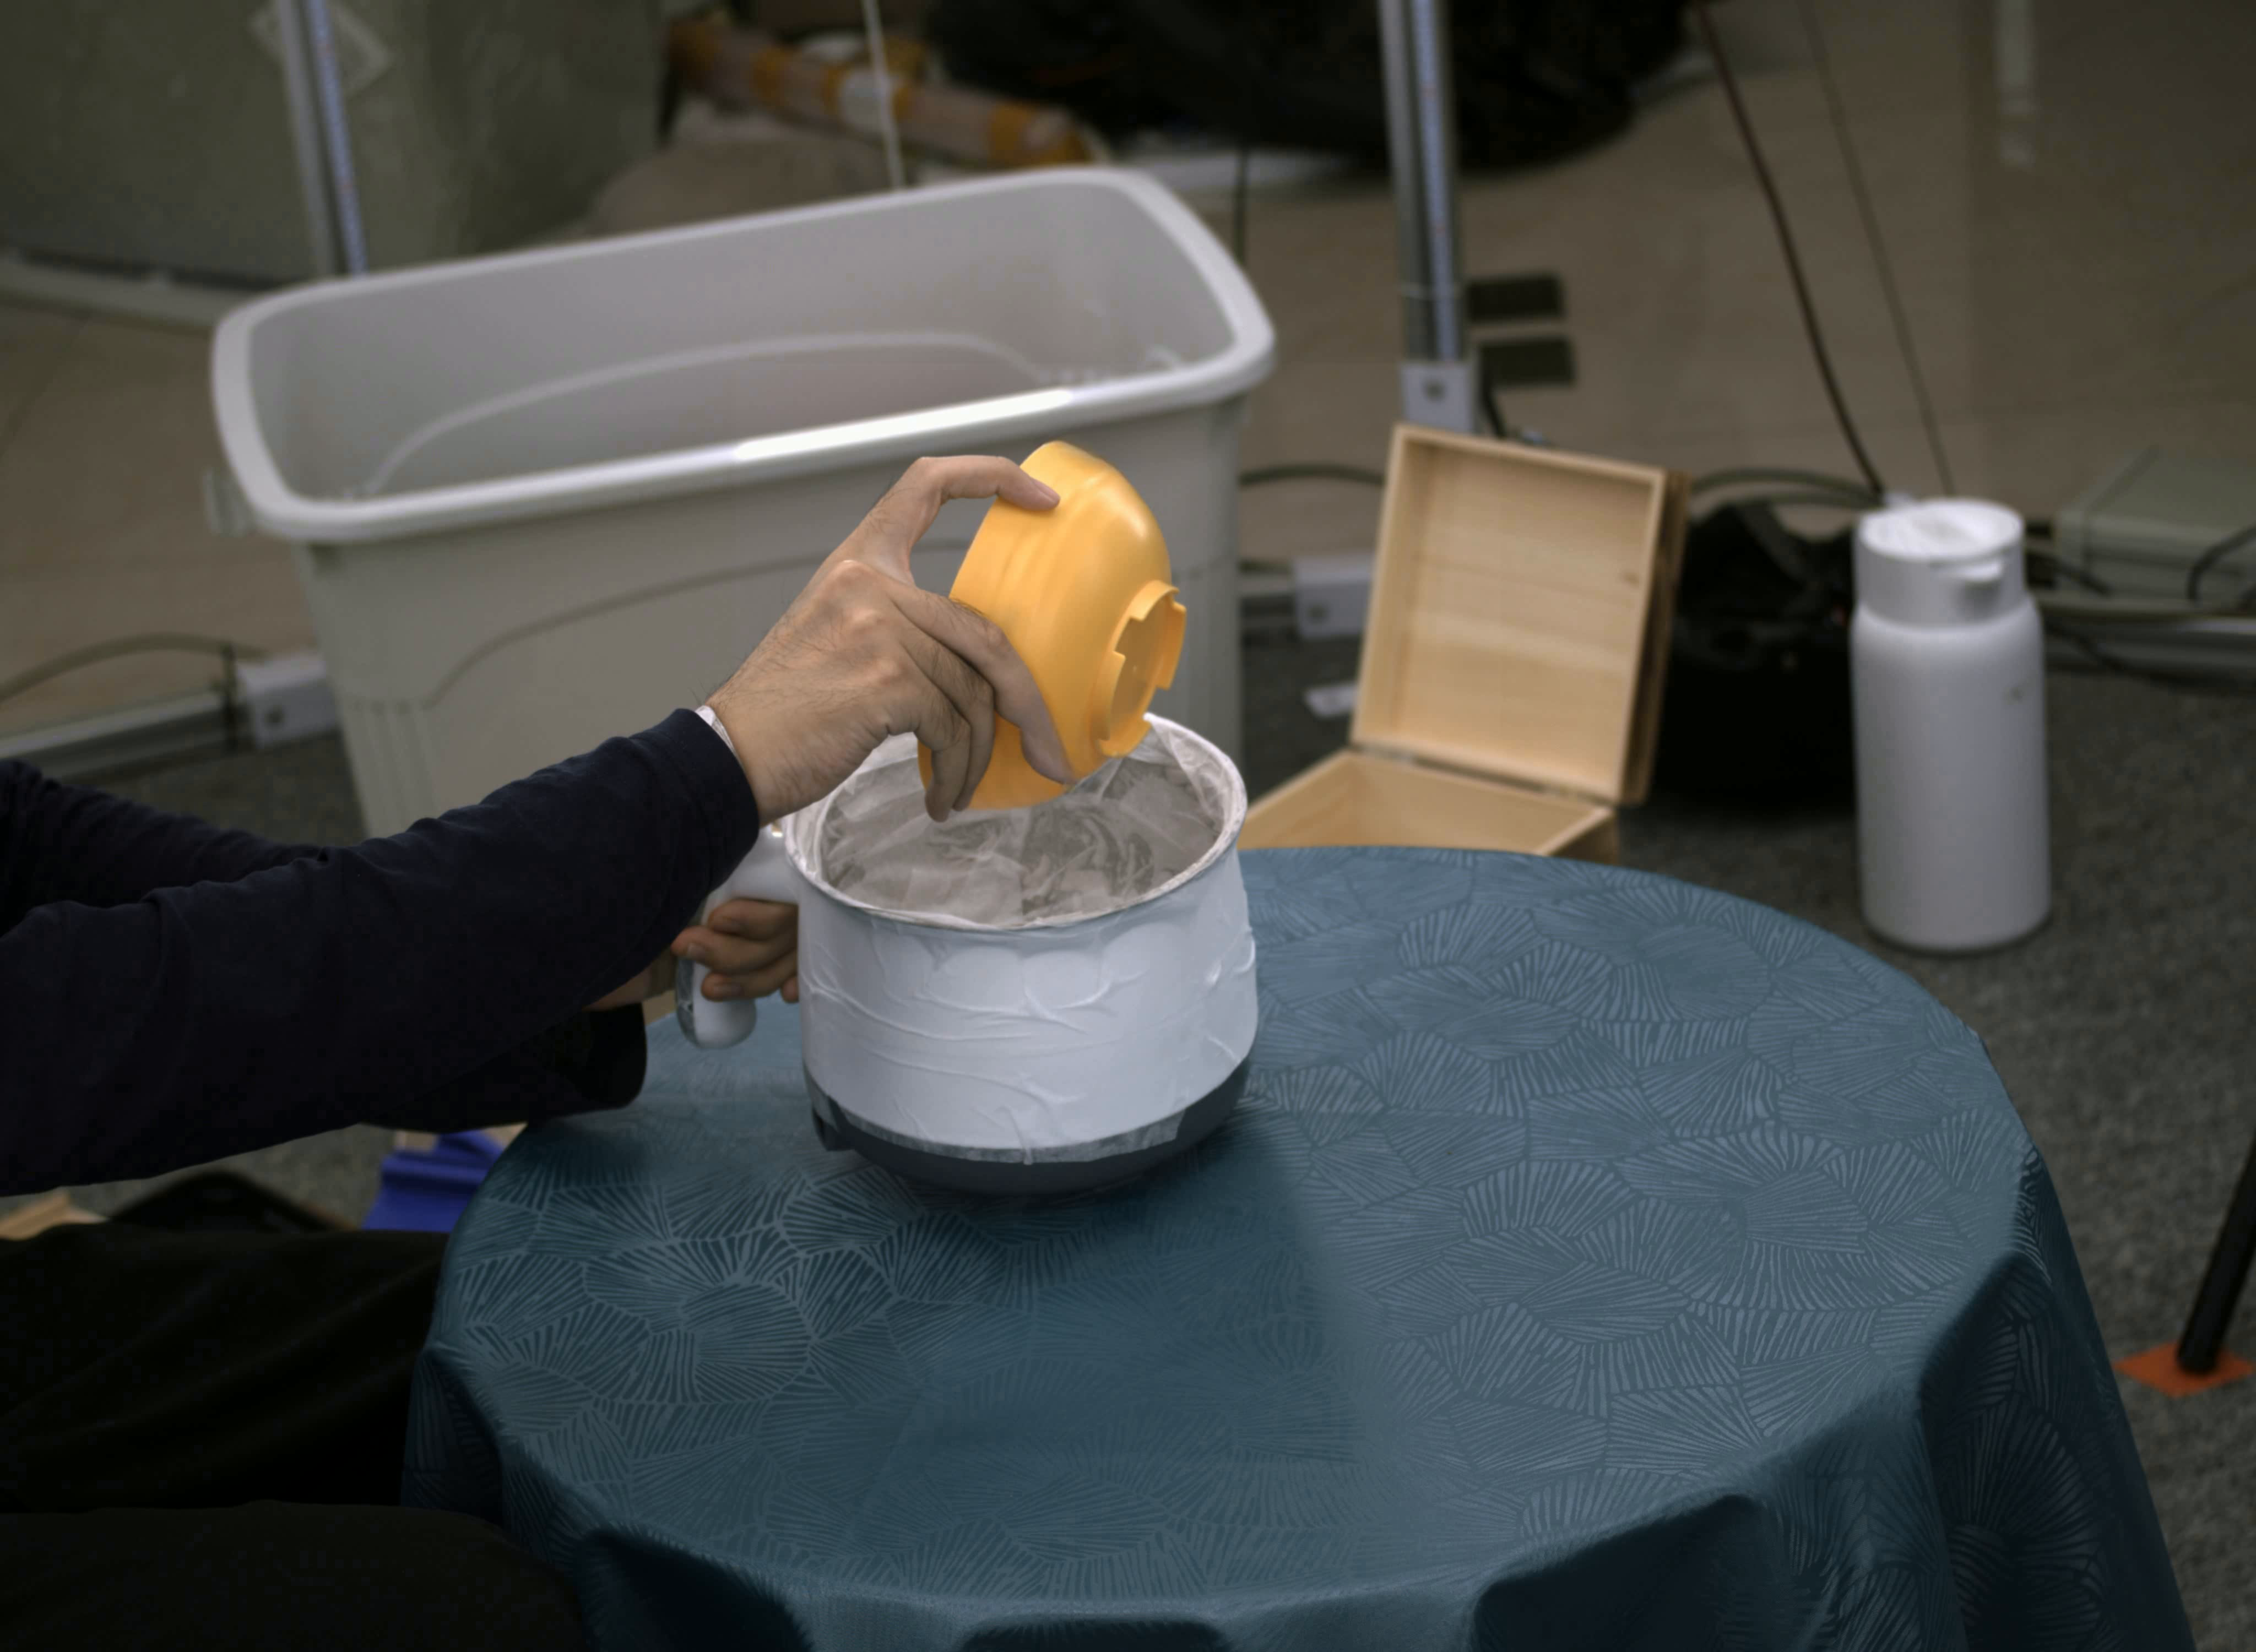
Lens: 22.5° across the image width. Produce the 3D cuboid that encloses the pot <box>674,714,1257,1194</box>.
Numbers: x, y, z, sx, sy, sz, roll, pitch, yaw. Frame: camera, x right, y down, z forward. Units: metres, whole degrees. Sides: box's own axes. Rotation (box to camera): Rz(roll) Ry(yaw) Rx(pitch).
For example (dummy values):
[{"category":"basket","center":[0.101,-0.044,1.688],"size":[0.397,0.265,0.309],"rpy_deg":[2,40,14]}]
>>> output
[{"category":"pot","center":[-0.066,0.047,2.181],"size":[0.233,0.139,0.176],"rpy_deg":[5,29,14]}]

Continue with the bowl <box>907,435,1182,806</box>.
[{"category":"bowl","center":[-0.021,-0.067,2.072],"size":[0.060,0.148,0.143],"rpy_deg":[22,34,17]}]
